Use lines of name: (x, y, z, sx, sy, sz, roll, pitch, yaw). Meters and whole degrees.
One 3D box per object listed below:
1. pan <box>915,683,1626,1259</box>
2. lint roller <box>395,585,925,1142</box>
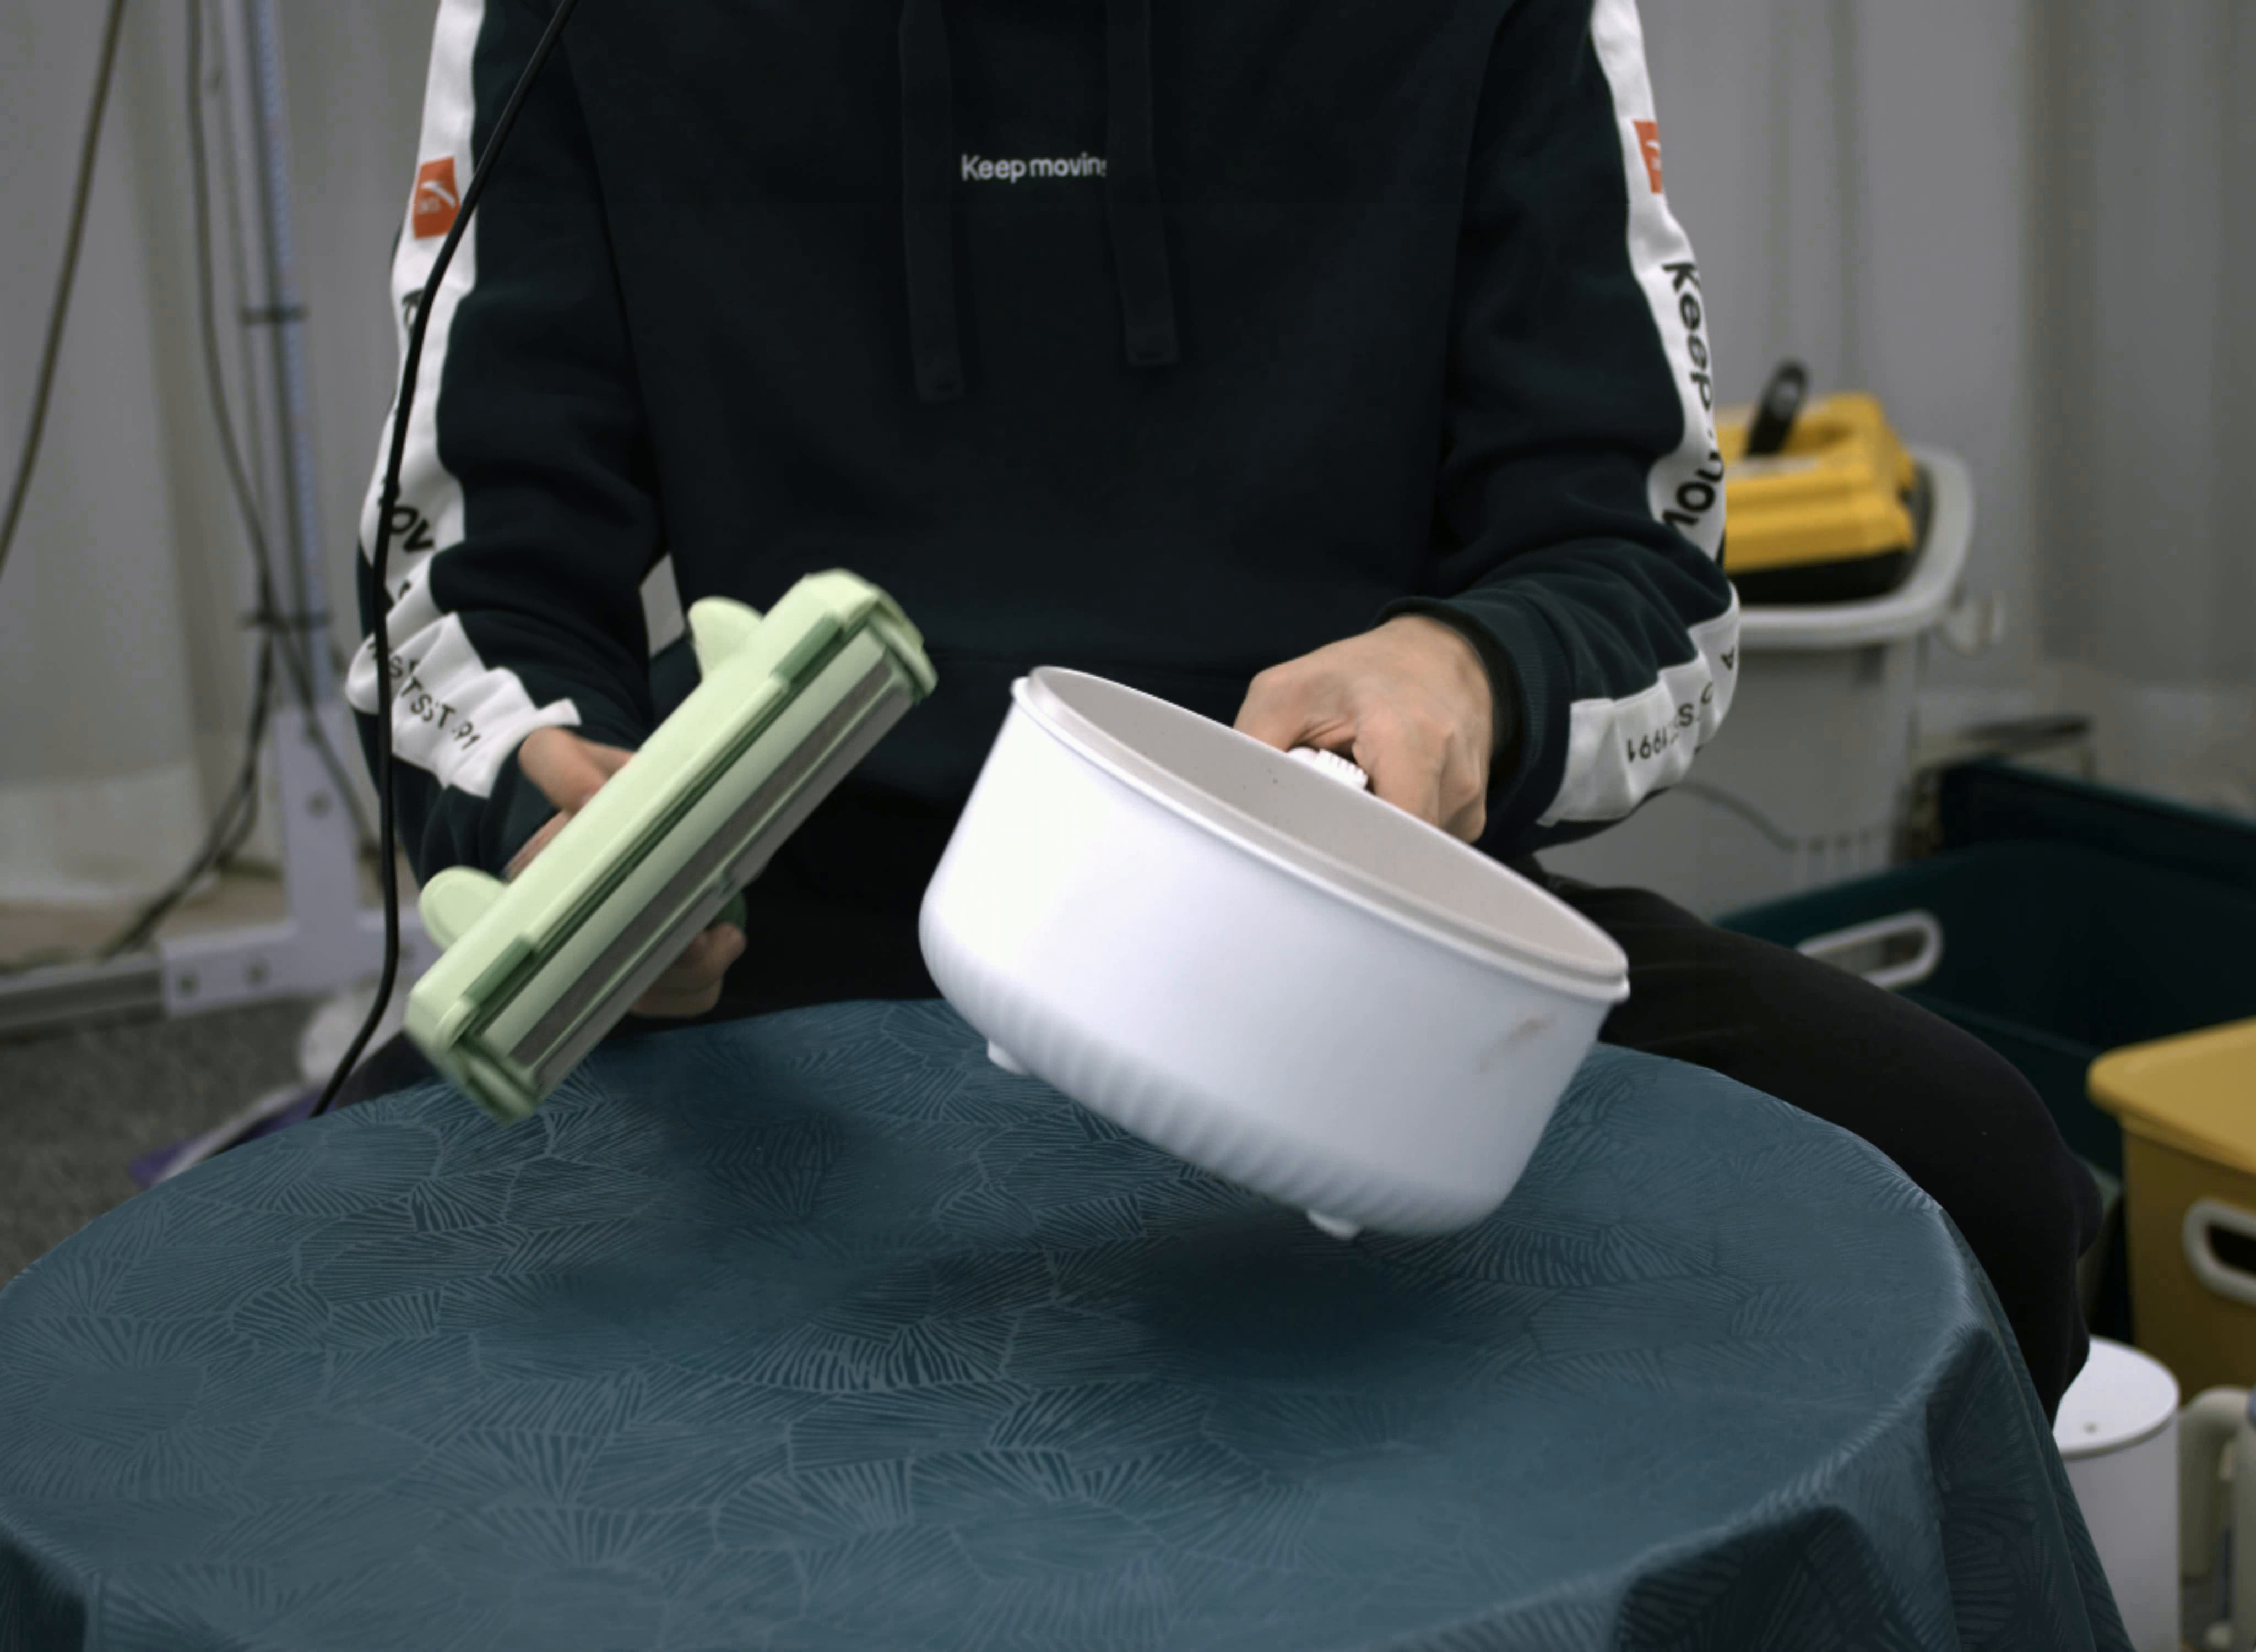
pan: (0.040, 0.039, 1.679, 0.201, 0.102, 0.355, 27, 7, 0)
lint roller: (-0.156, 0.011, 1.733, 0.199, 0.082, 0.183, -47, 3, -10)
